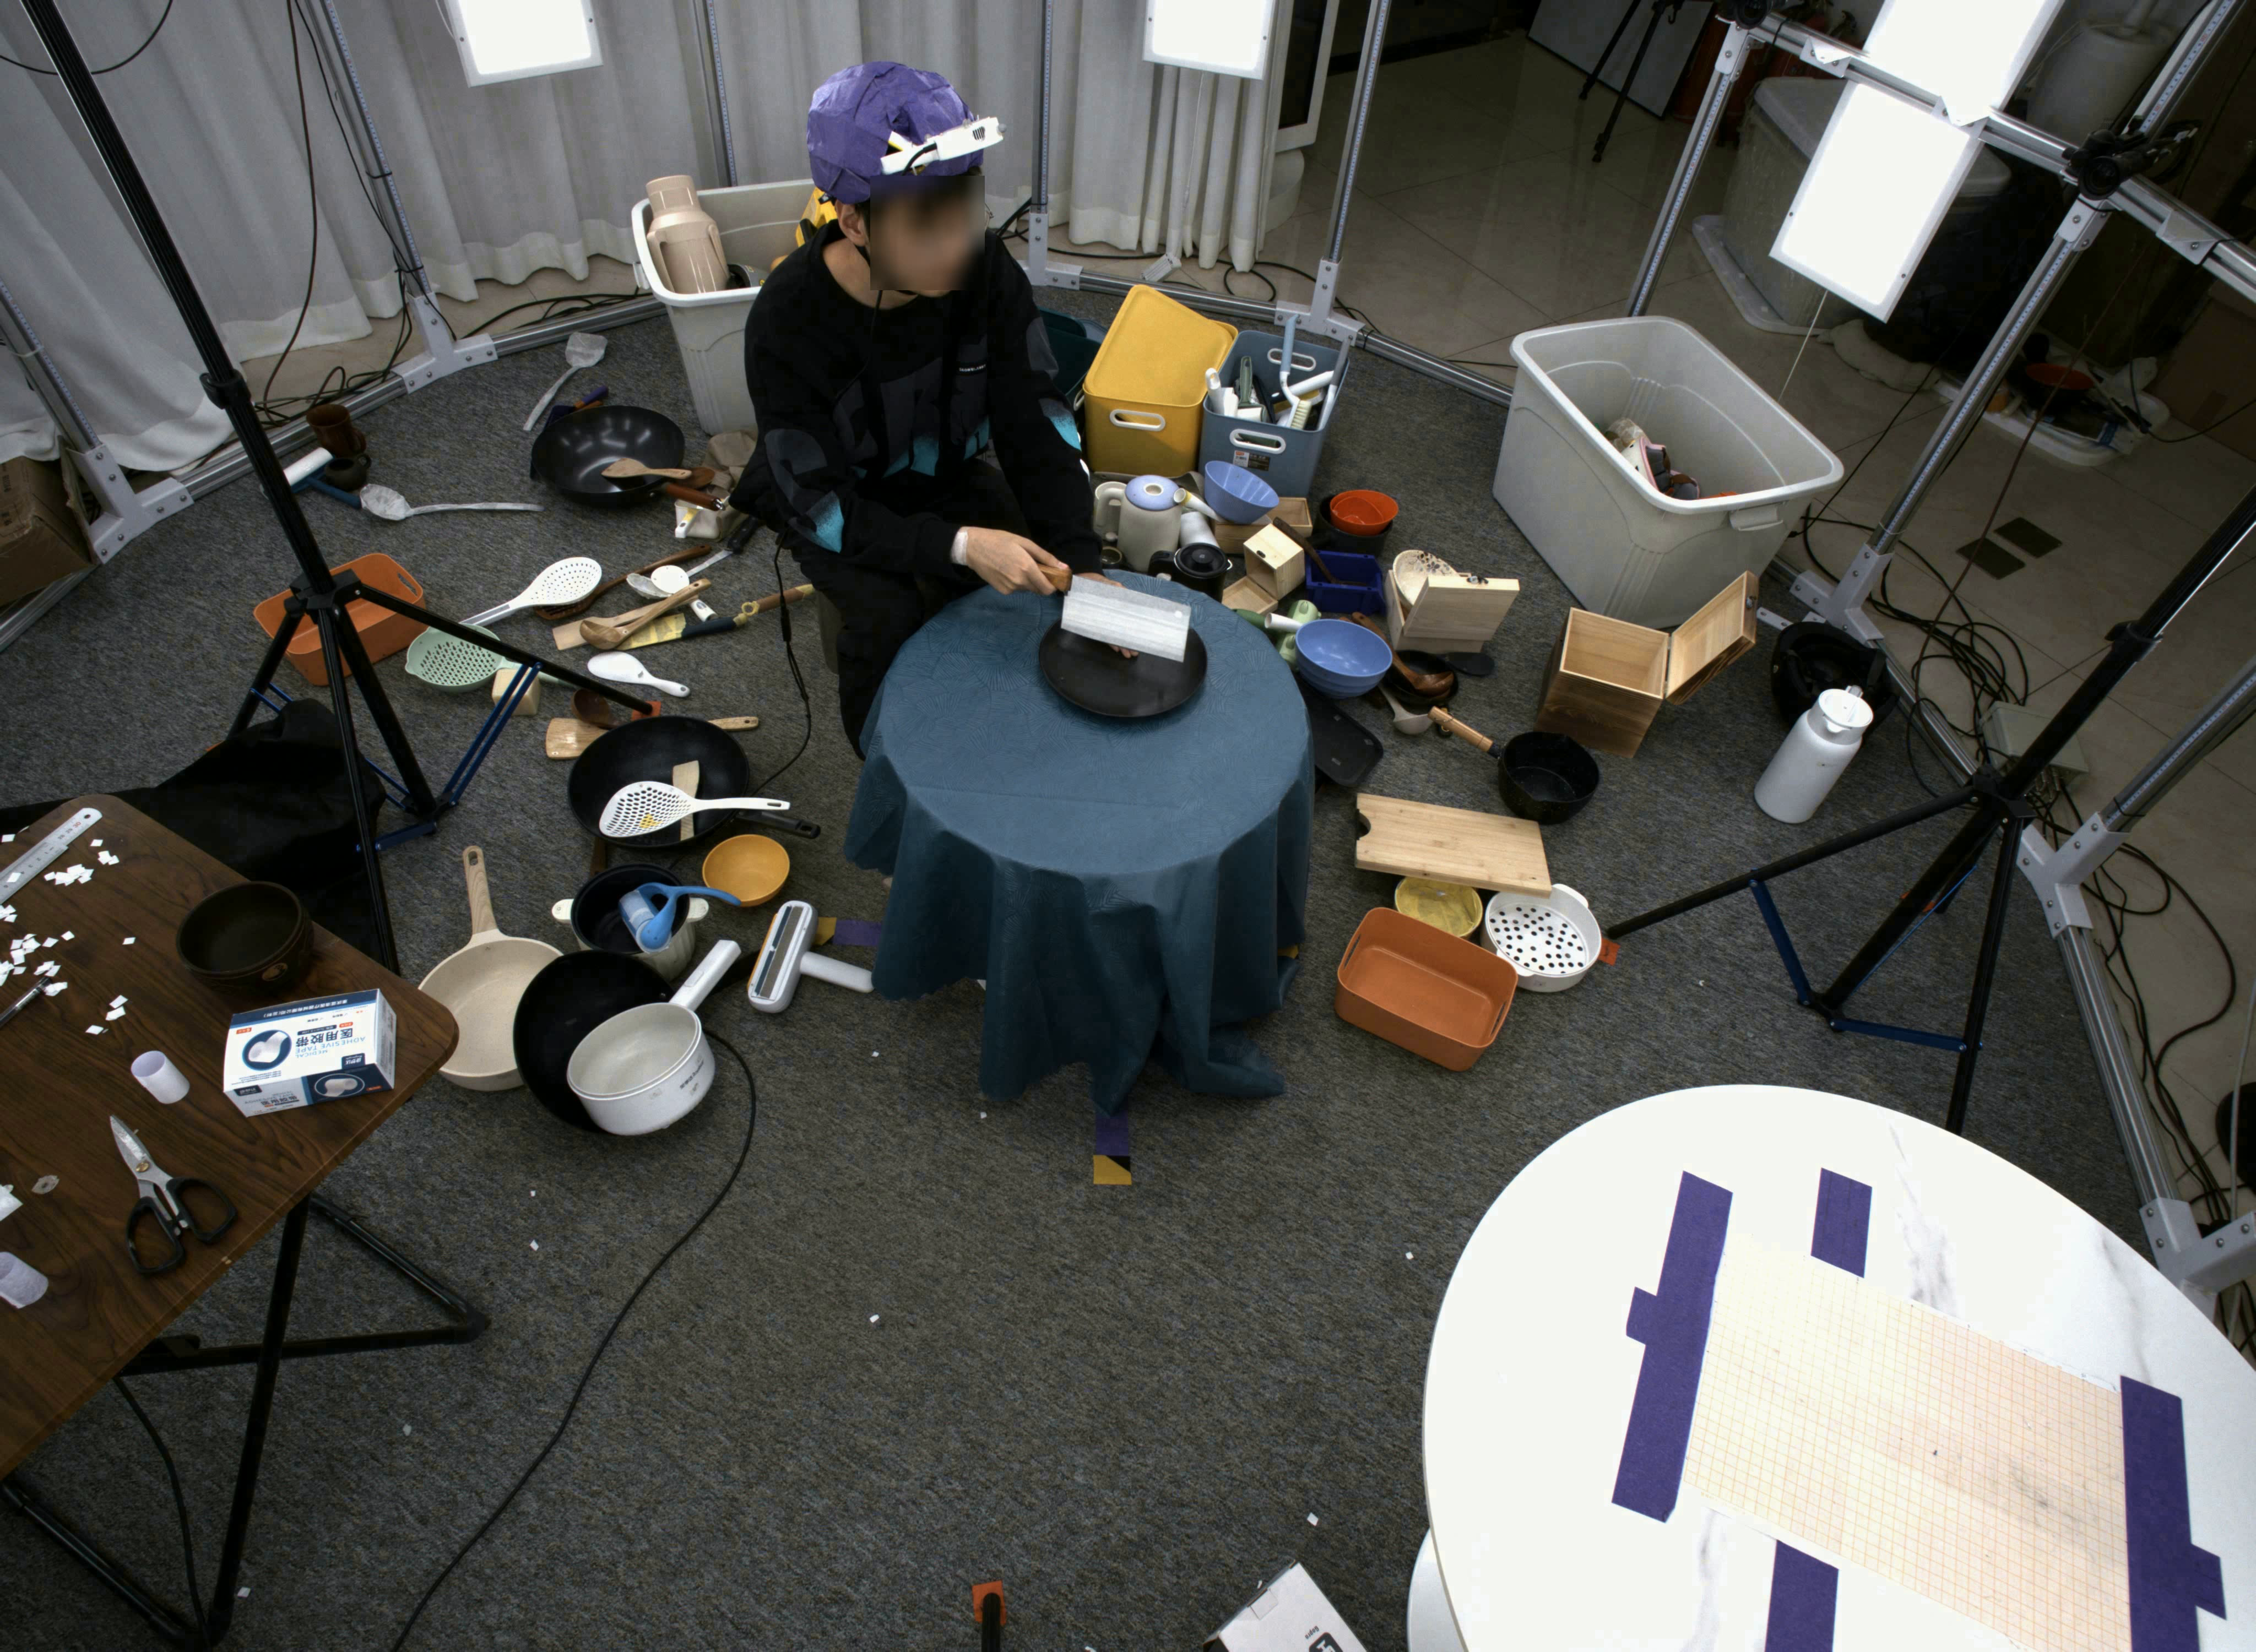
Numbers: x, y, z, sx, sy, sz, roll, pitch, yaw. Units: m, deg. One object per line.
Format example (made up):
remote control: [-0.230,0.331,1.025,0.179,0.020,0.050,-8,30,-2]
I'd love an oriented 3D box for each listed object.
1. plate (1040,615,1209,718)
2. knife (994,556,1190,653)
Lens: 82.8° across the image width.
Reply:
plate: [-0.004,-0.238,1.859,0.244,0.023,0.250,2,49,-2]
knife: [-0.055,-0.313,1.836,0.307,0.091,0.021,18,35,16]
